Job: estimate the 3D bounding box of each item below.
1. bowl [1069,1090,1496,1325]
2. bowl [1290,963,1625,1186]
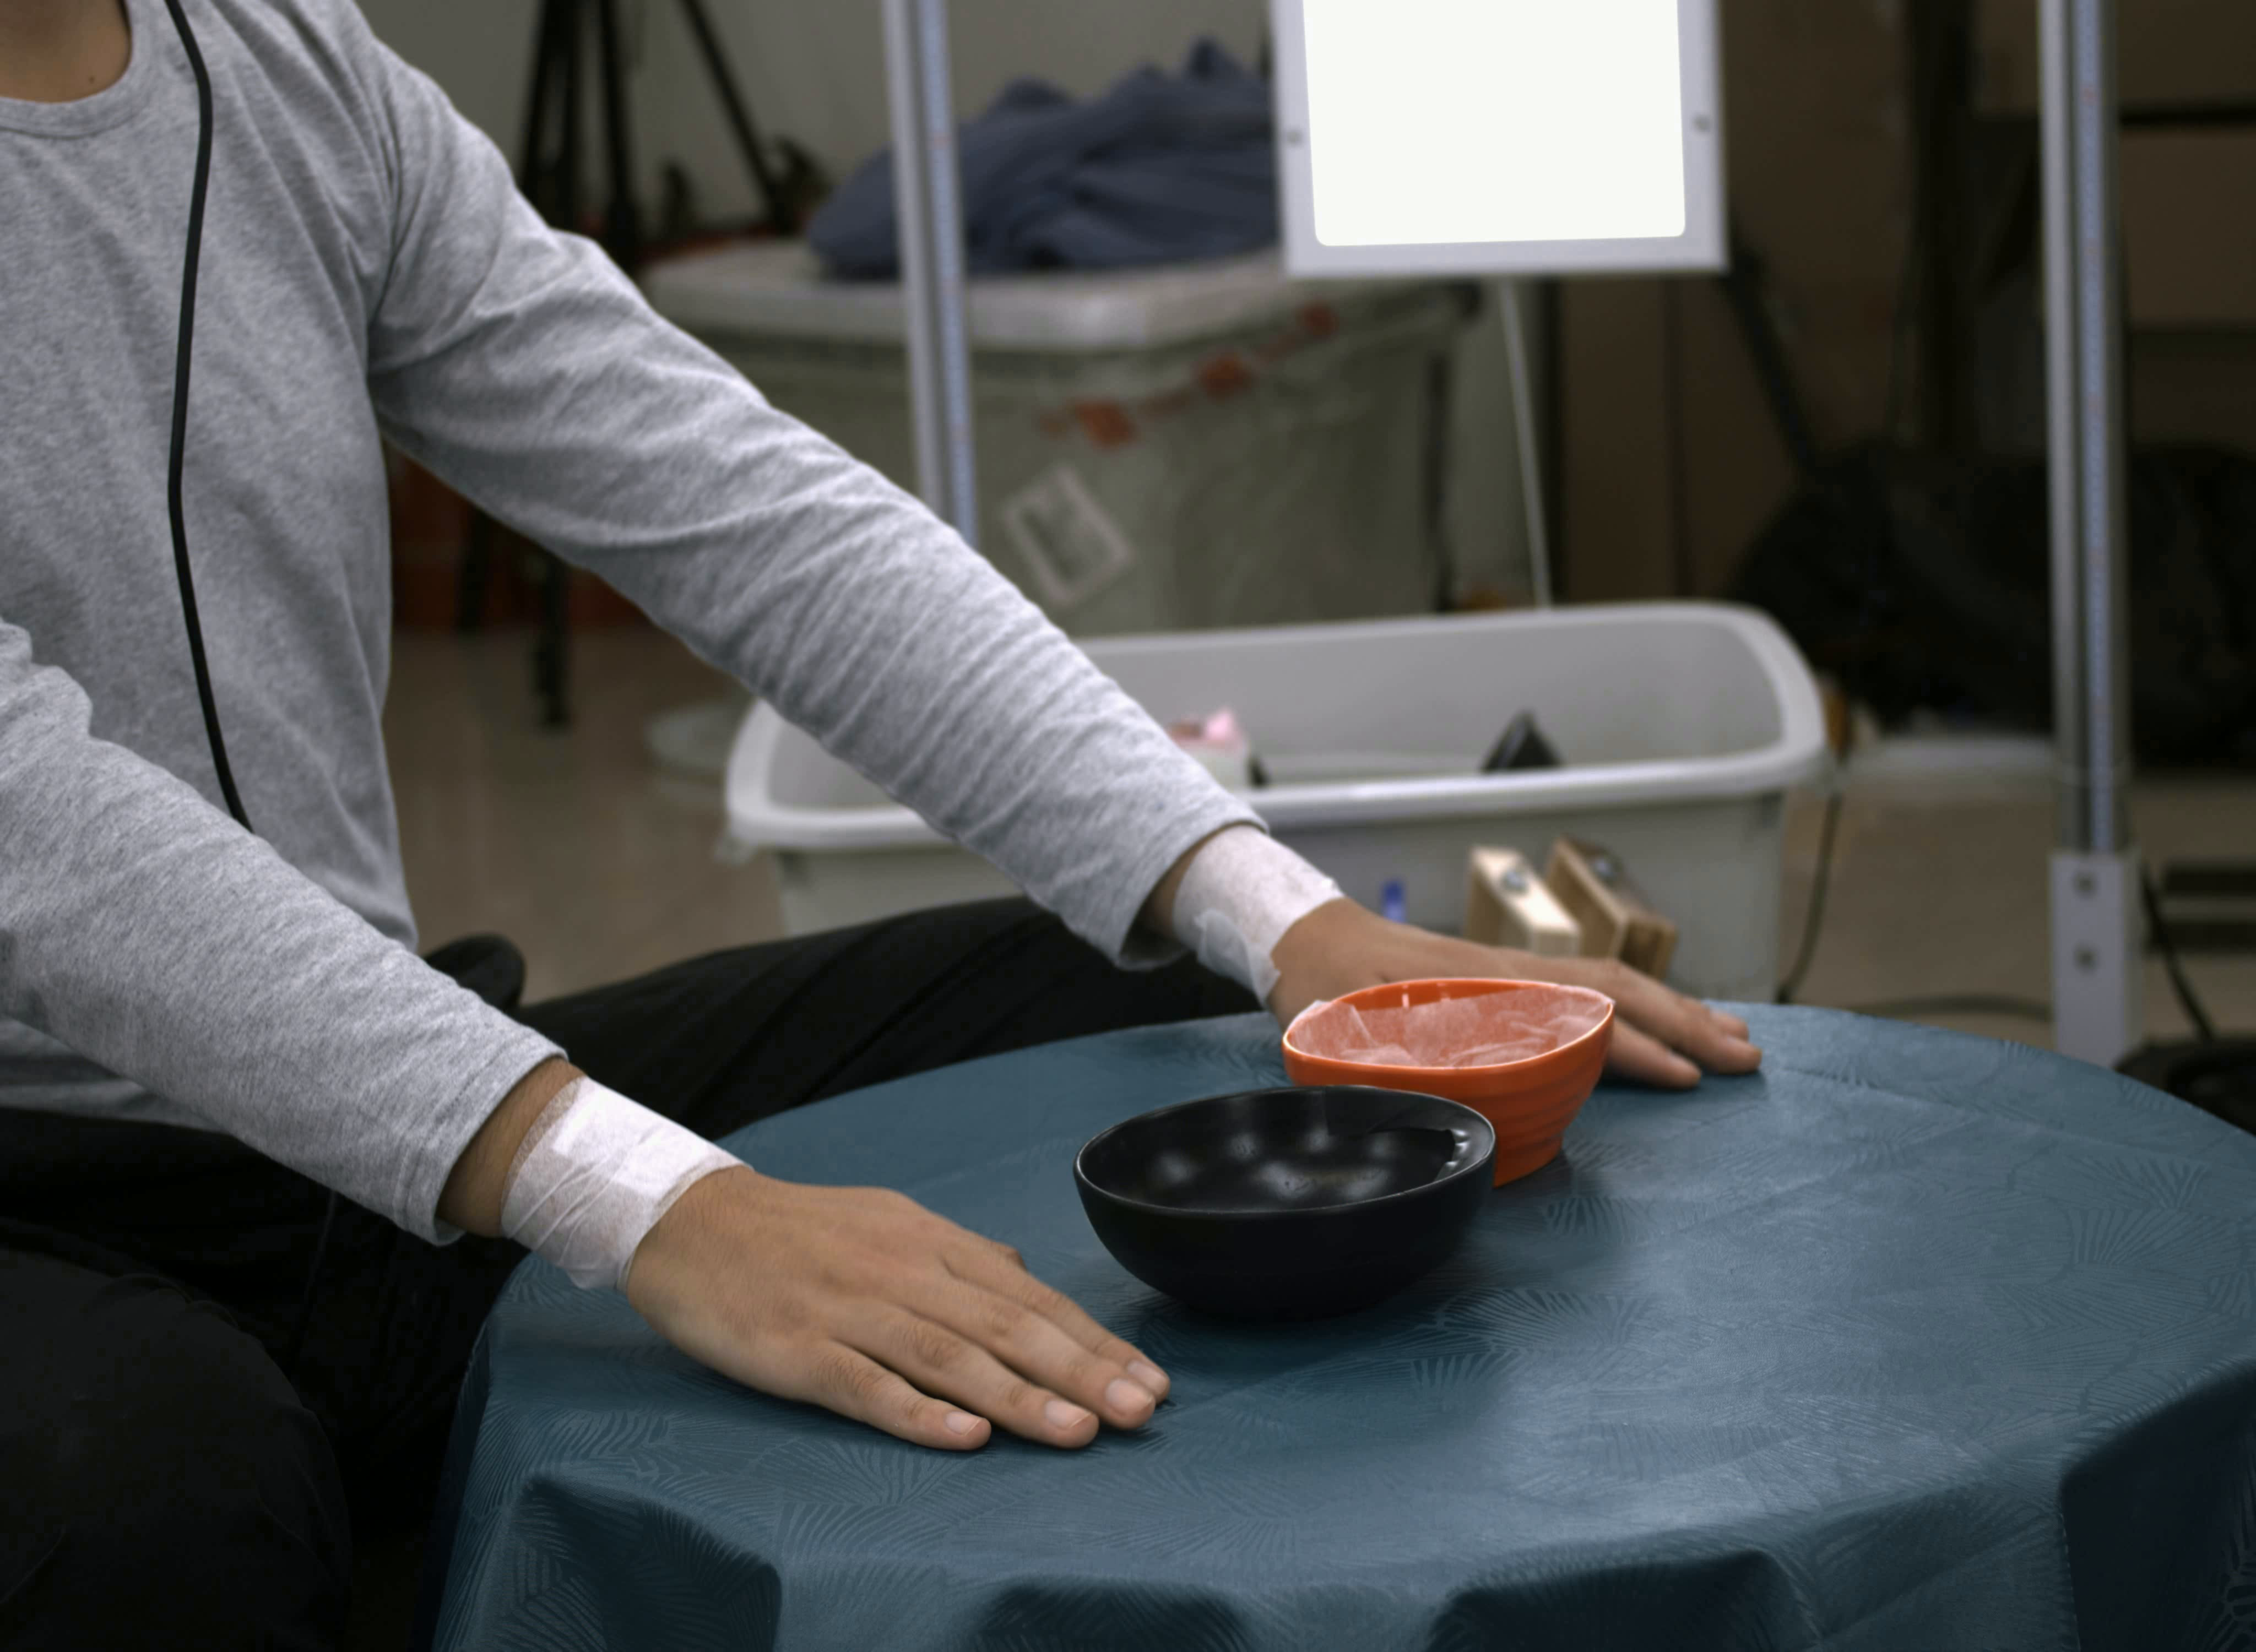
[{"bbox_3d":[0.052,0.127,1.779,0.139,0.050,0.140,-5,12,0],"label":"bowl"},{"bbox_3d":[0.115,0.088,1.901,0.118,0.051,0.119,-3,17,-1],"label":"bowl"}]
